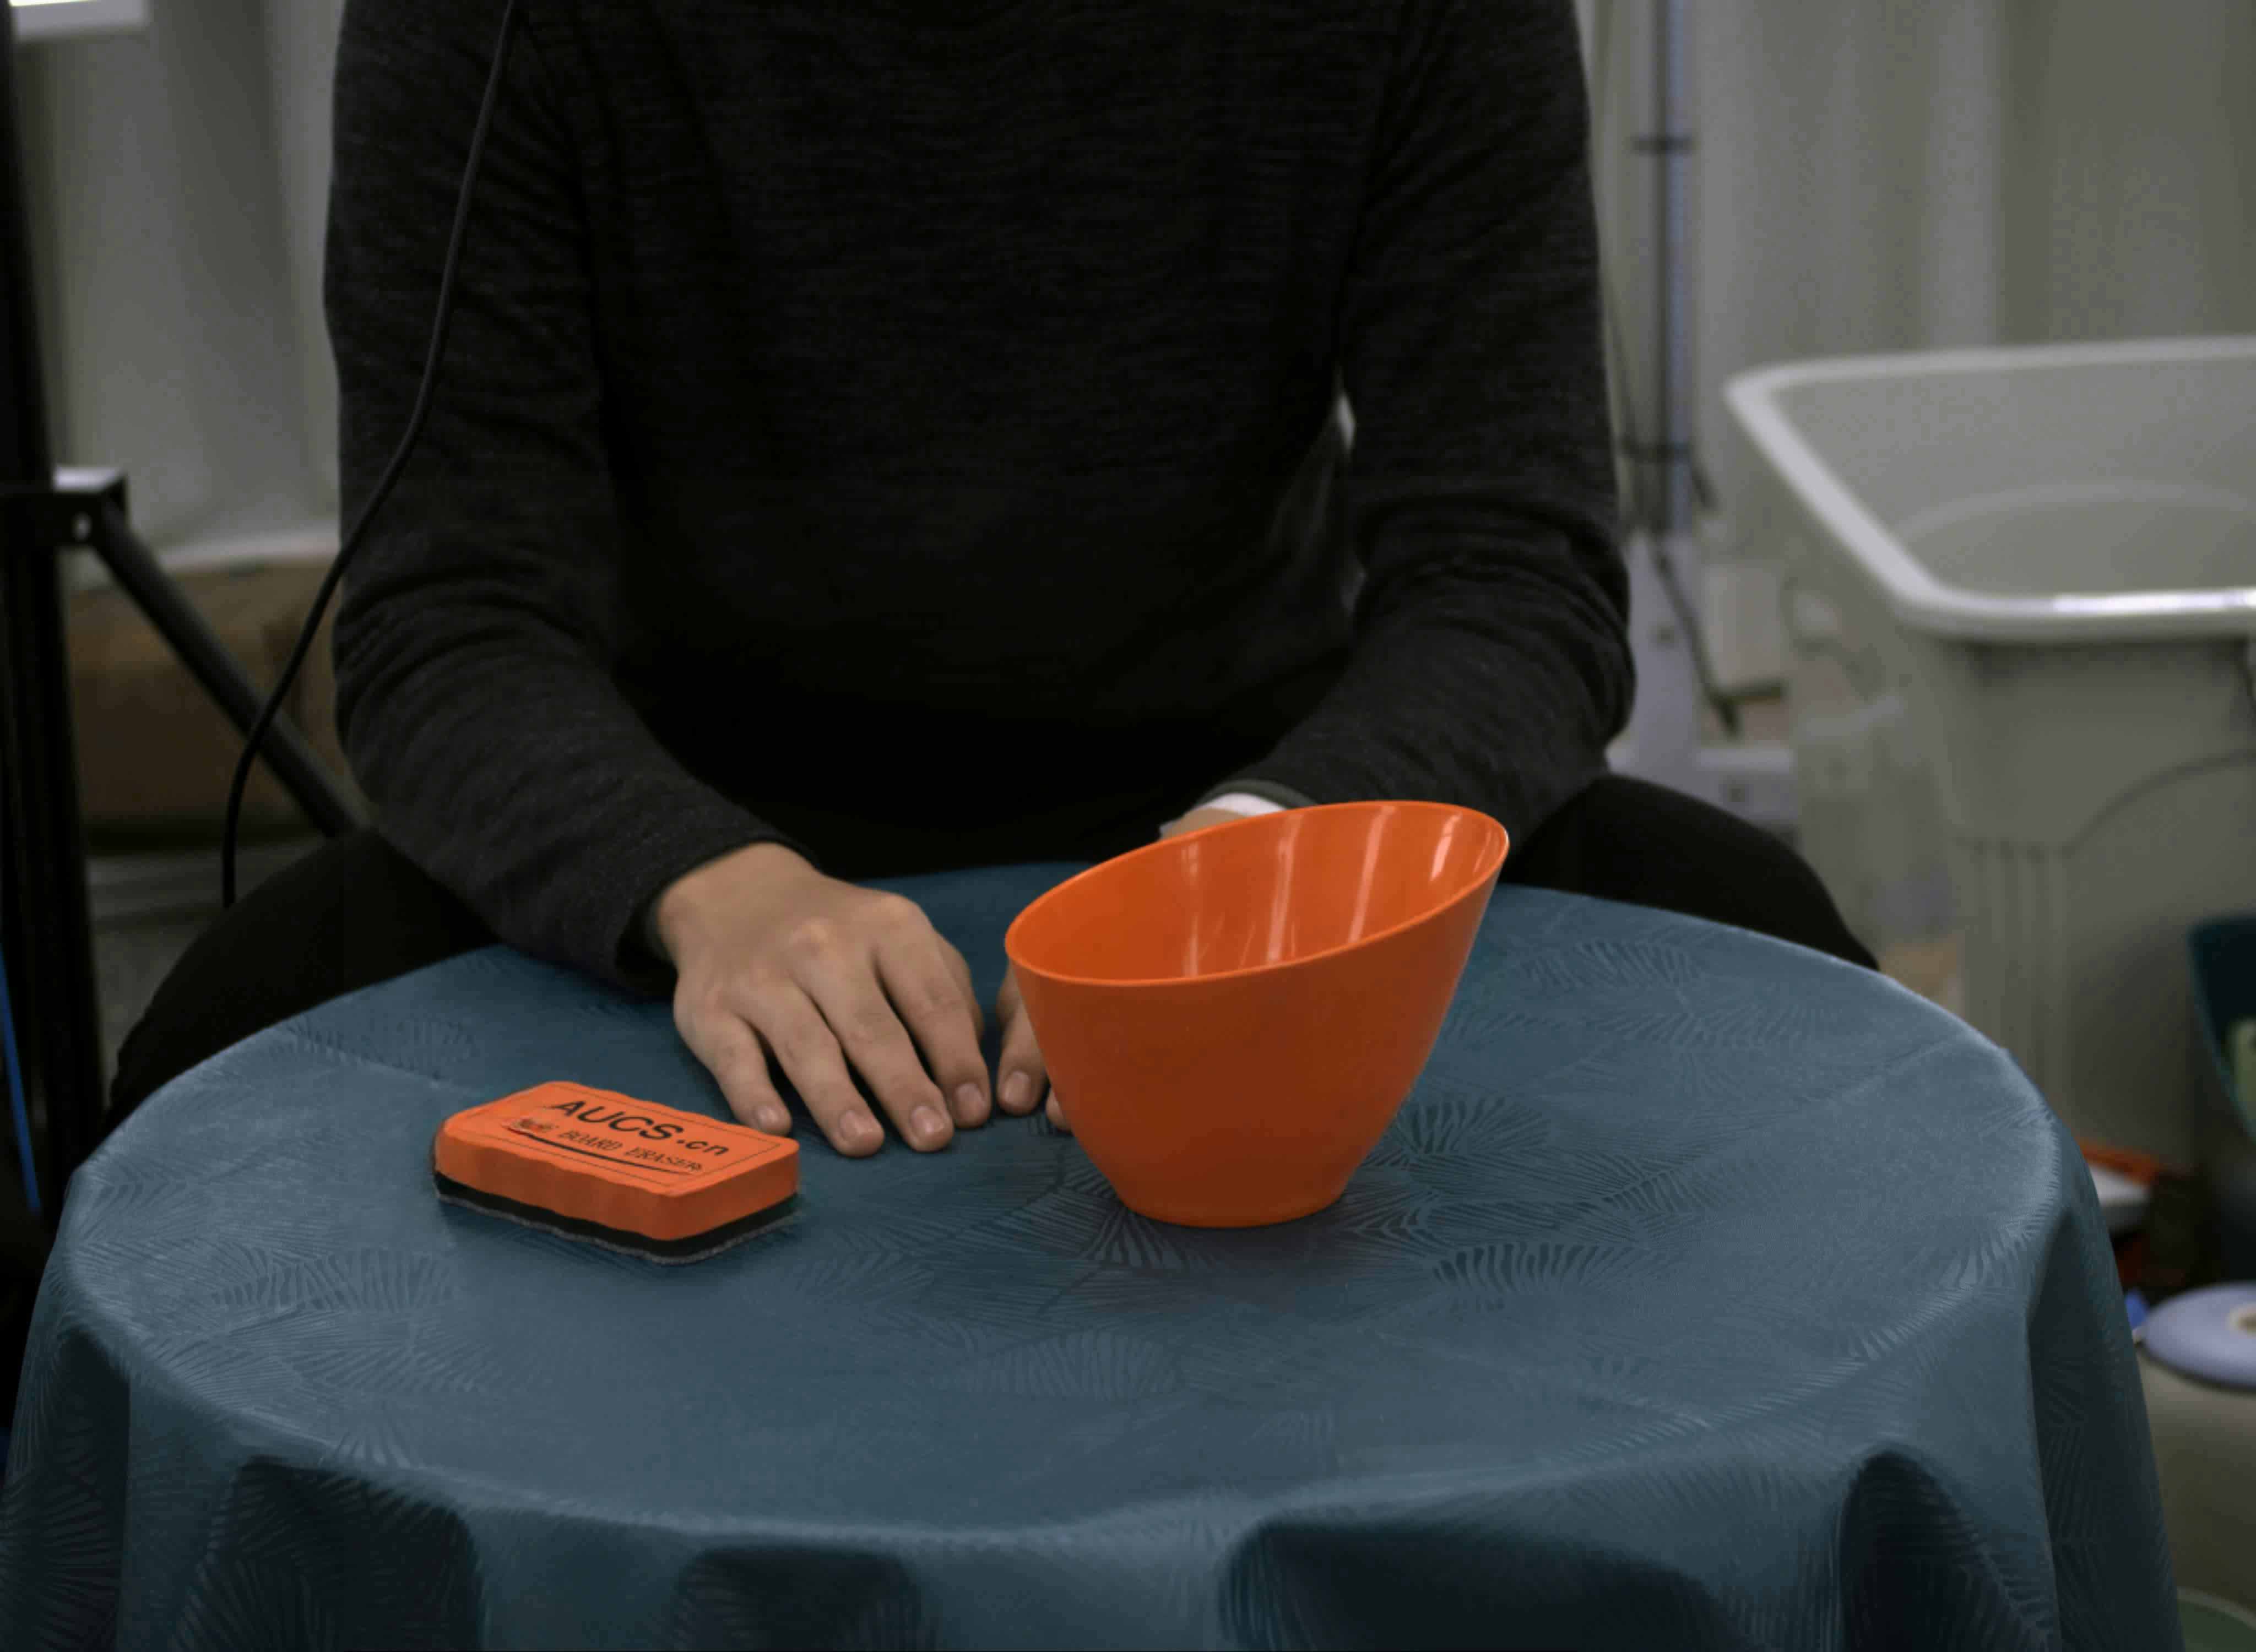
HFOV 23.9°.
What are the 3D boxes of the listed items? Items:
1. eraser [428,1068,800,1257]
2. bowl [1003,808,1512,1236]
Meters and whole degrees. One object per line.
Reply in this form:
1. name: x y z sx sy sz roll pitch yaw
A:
1. eraser: -0.151 0.098 1.563 0.110 0.023 0.058 13 23 40
2. bowl: 0.038 0.059 1.540 0.147 0.104 0.149 -3 16 -1
